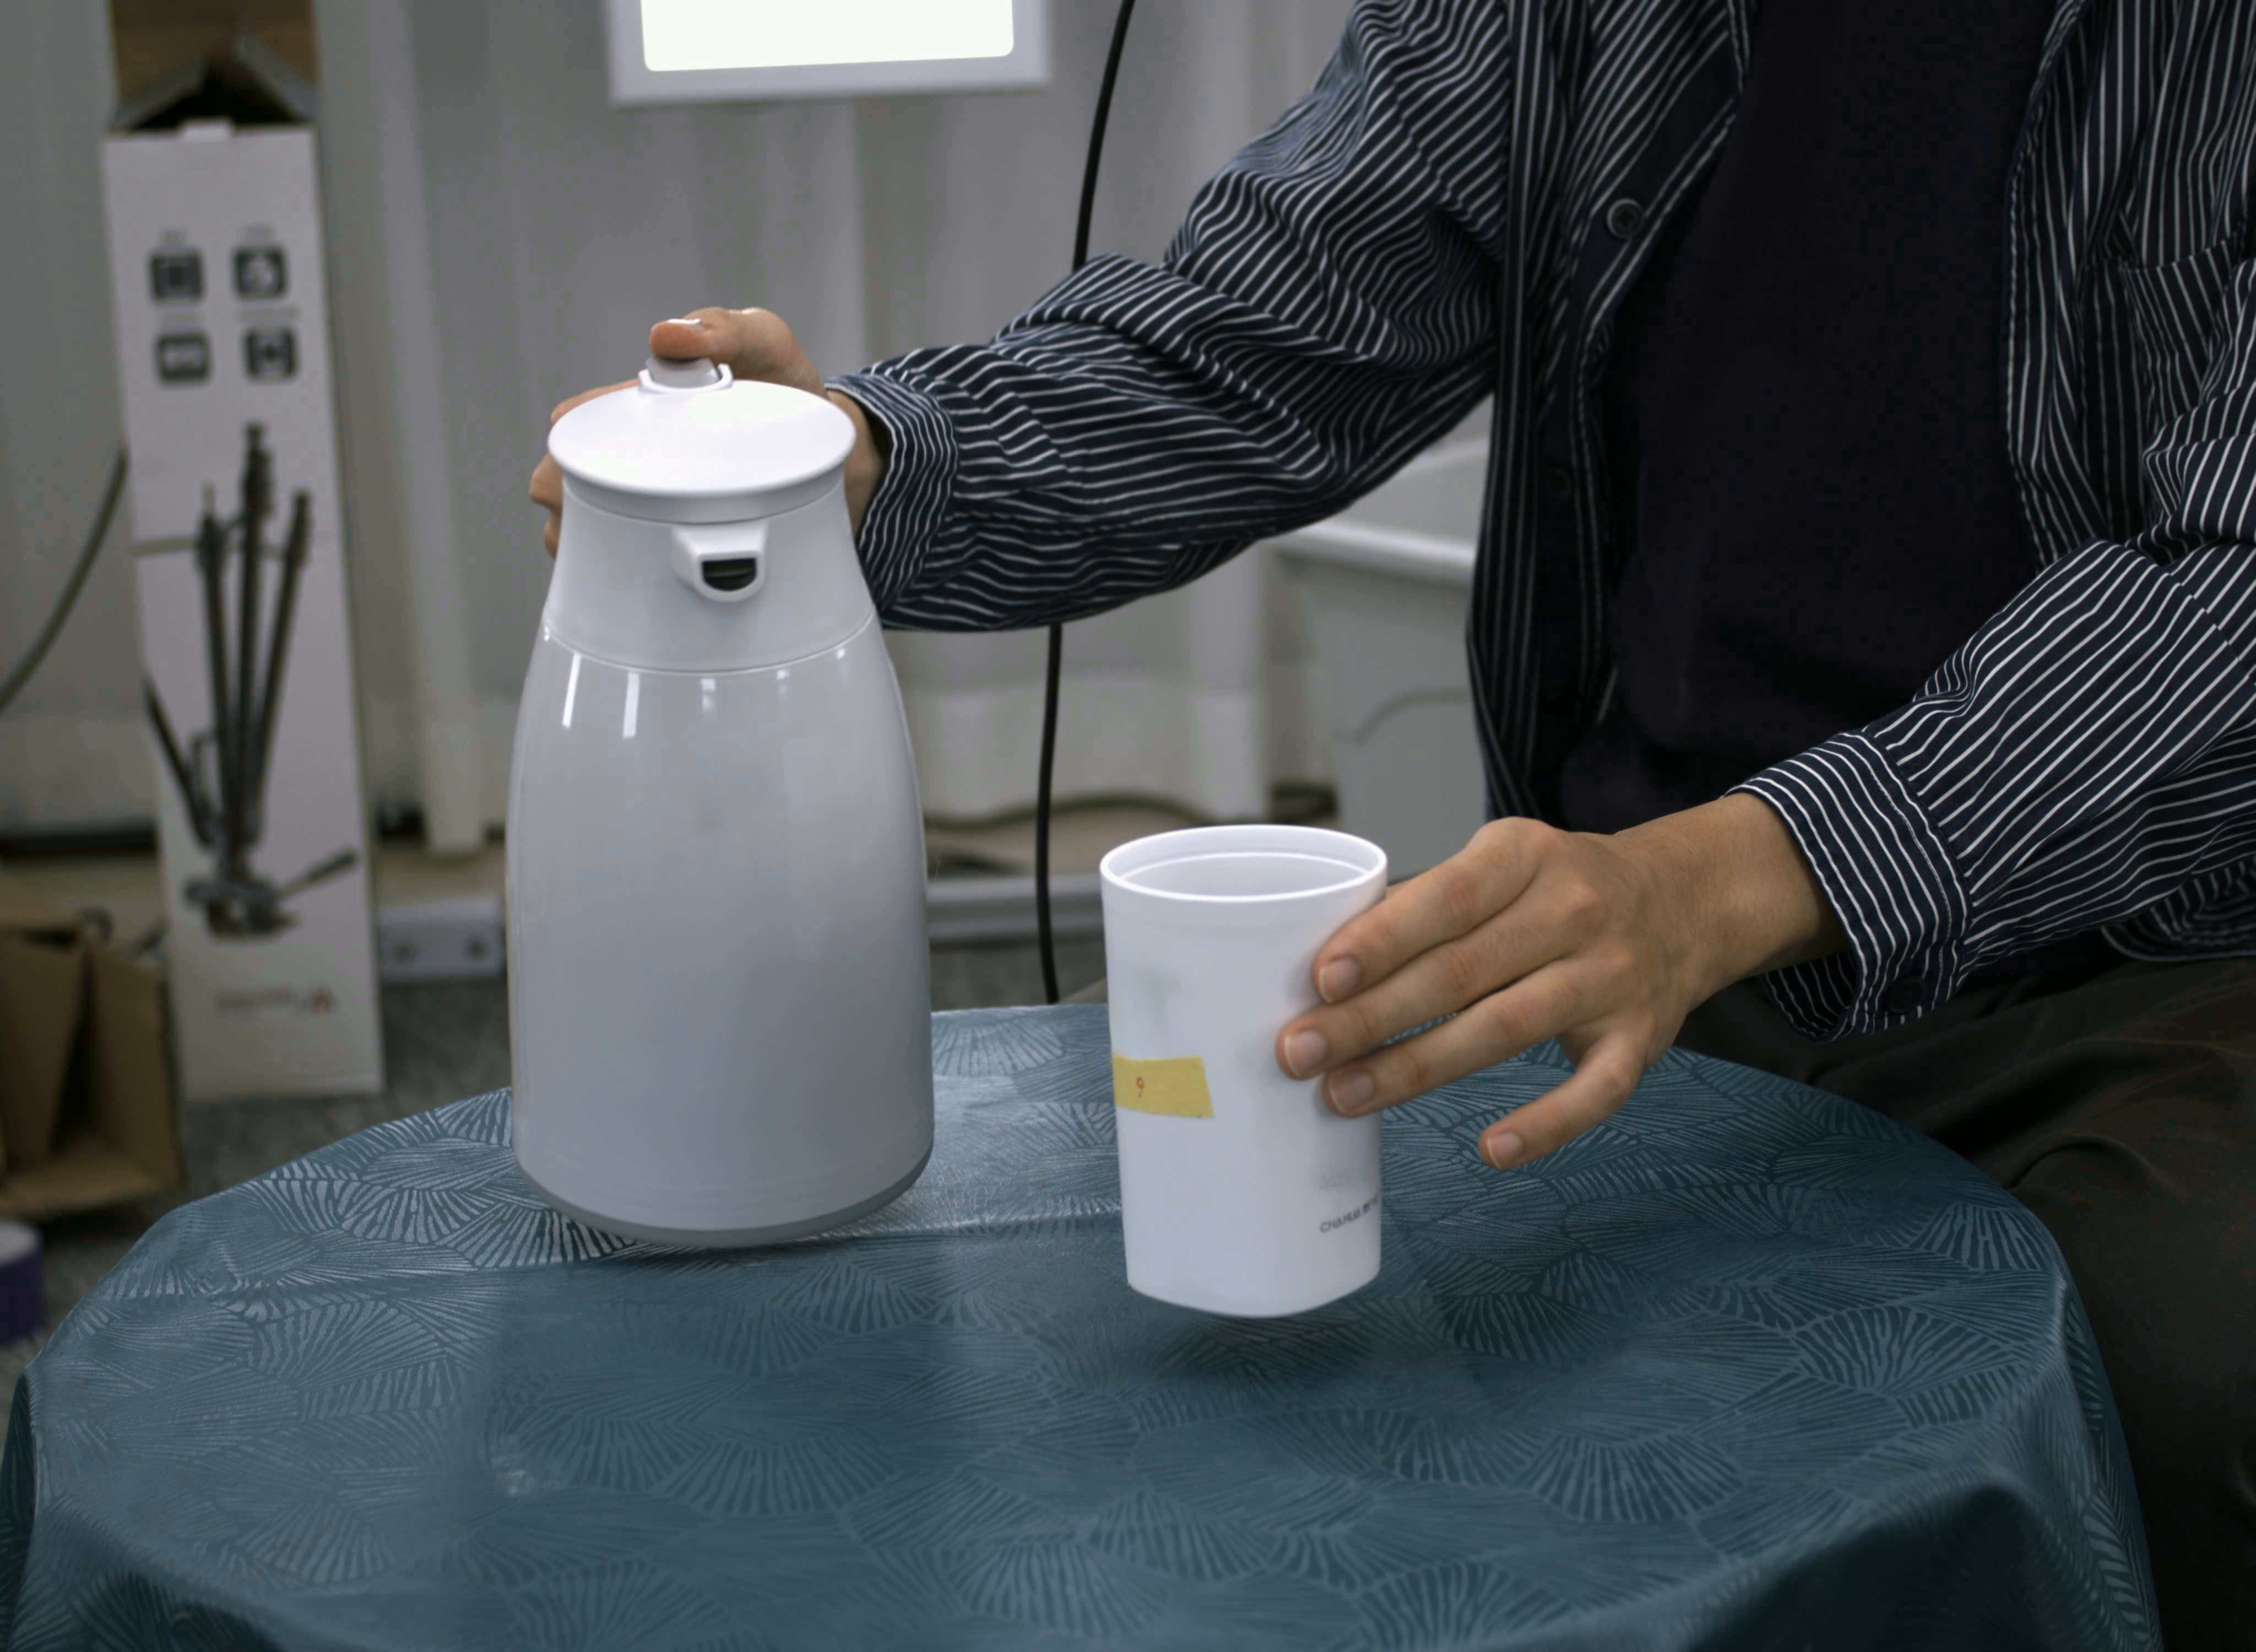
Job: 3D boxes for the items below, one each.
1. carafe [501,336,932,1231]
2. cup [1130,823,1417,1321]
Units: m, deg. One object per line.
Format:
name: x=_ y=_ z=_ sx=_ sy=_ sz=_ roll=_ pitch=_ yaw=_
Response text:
carafe: x=-0.135 y=-0.023 z=1.688 sx=0.132 sy=0.246 sz=0.170 roll=-9 pitch=28 yaw=-15
cup: x=0.043 y=0.070 z=1.546 sx=0.081 sy=0.125 sz=0.082 roll=-2 pitch=13 yaw=0
